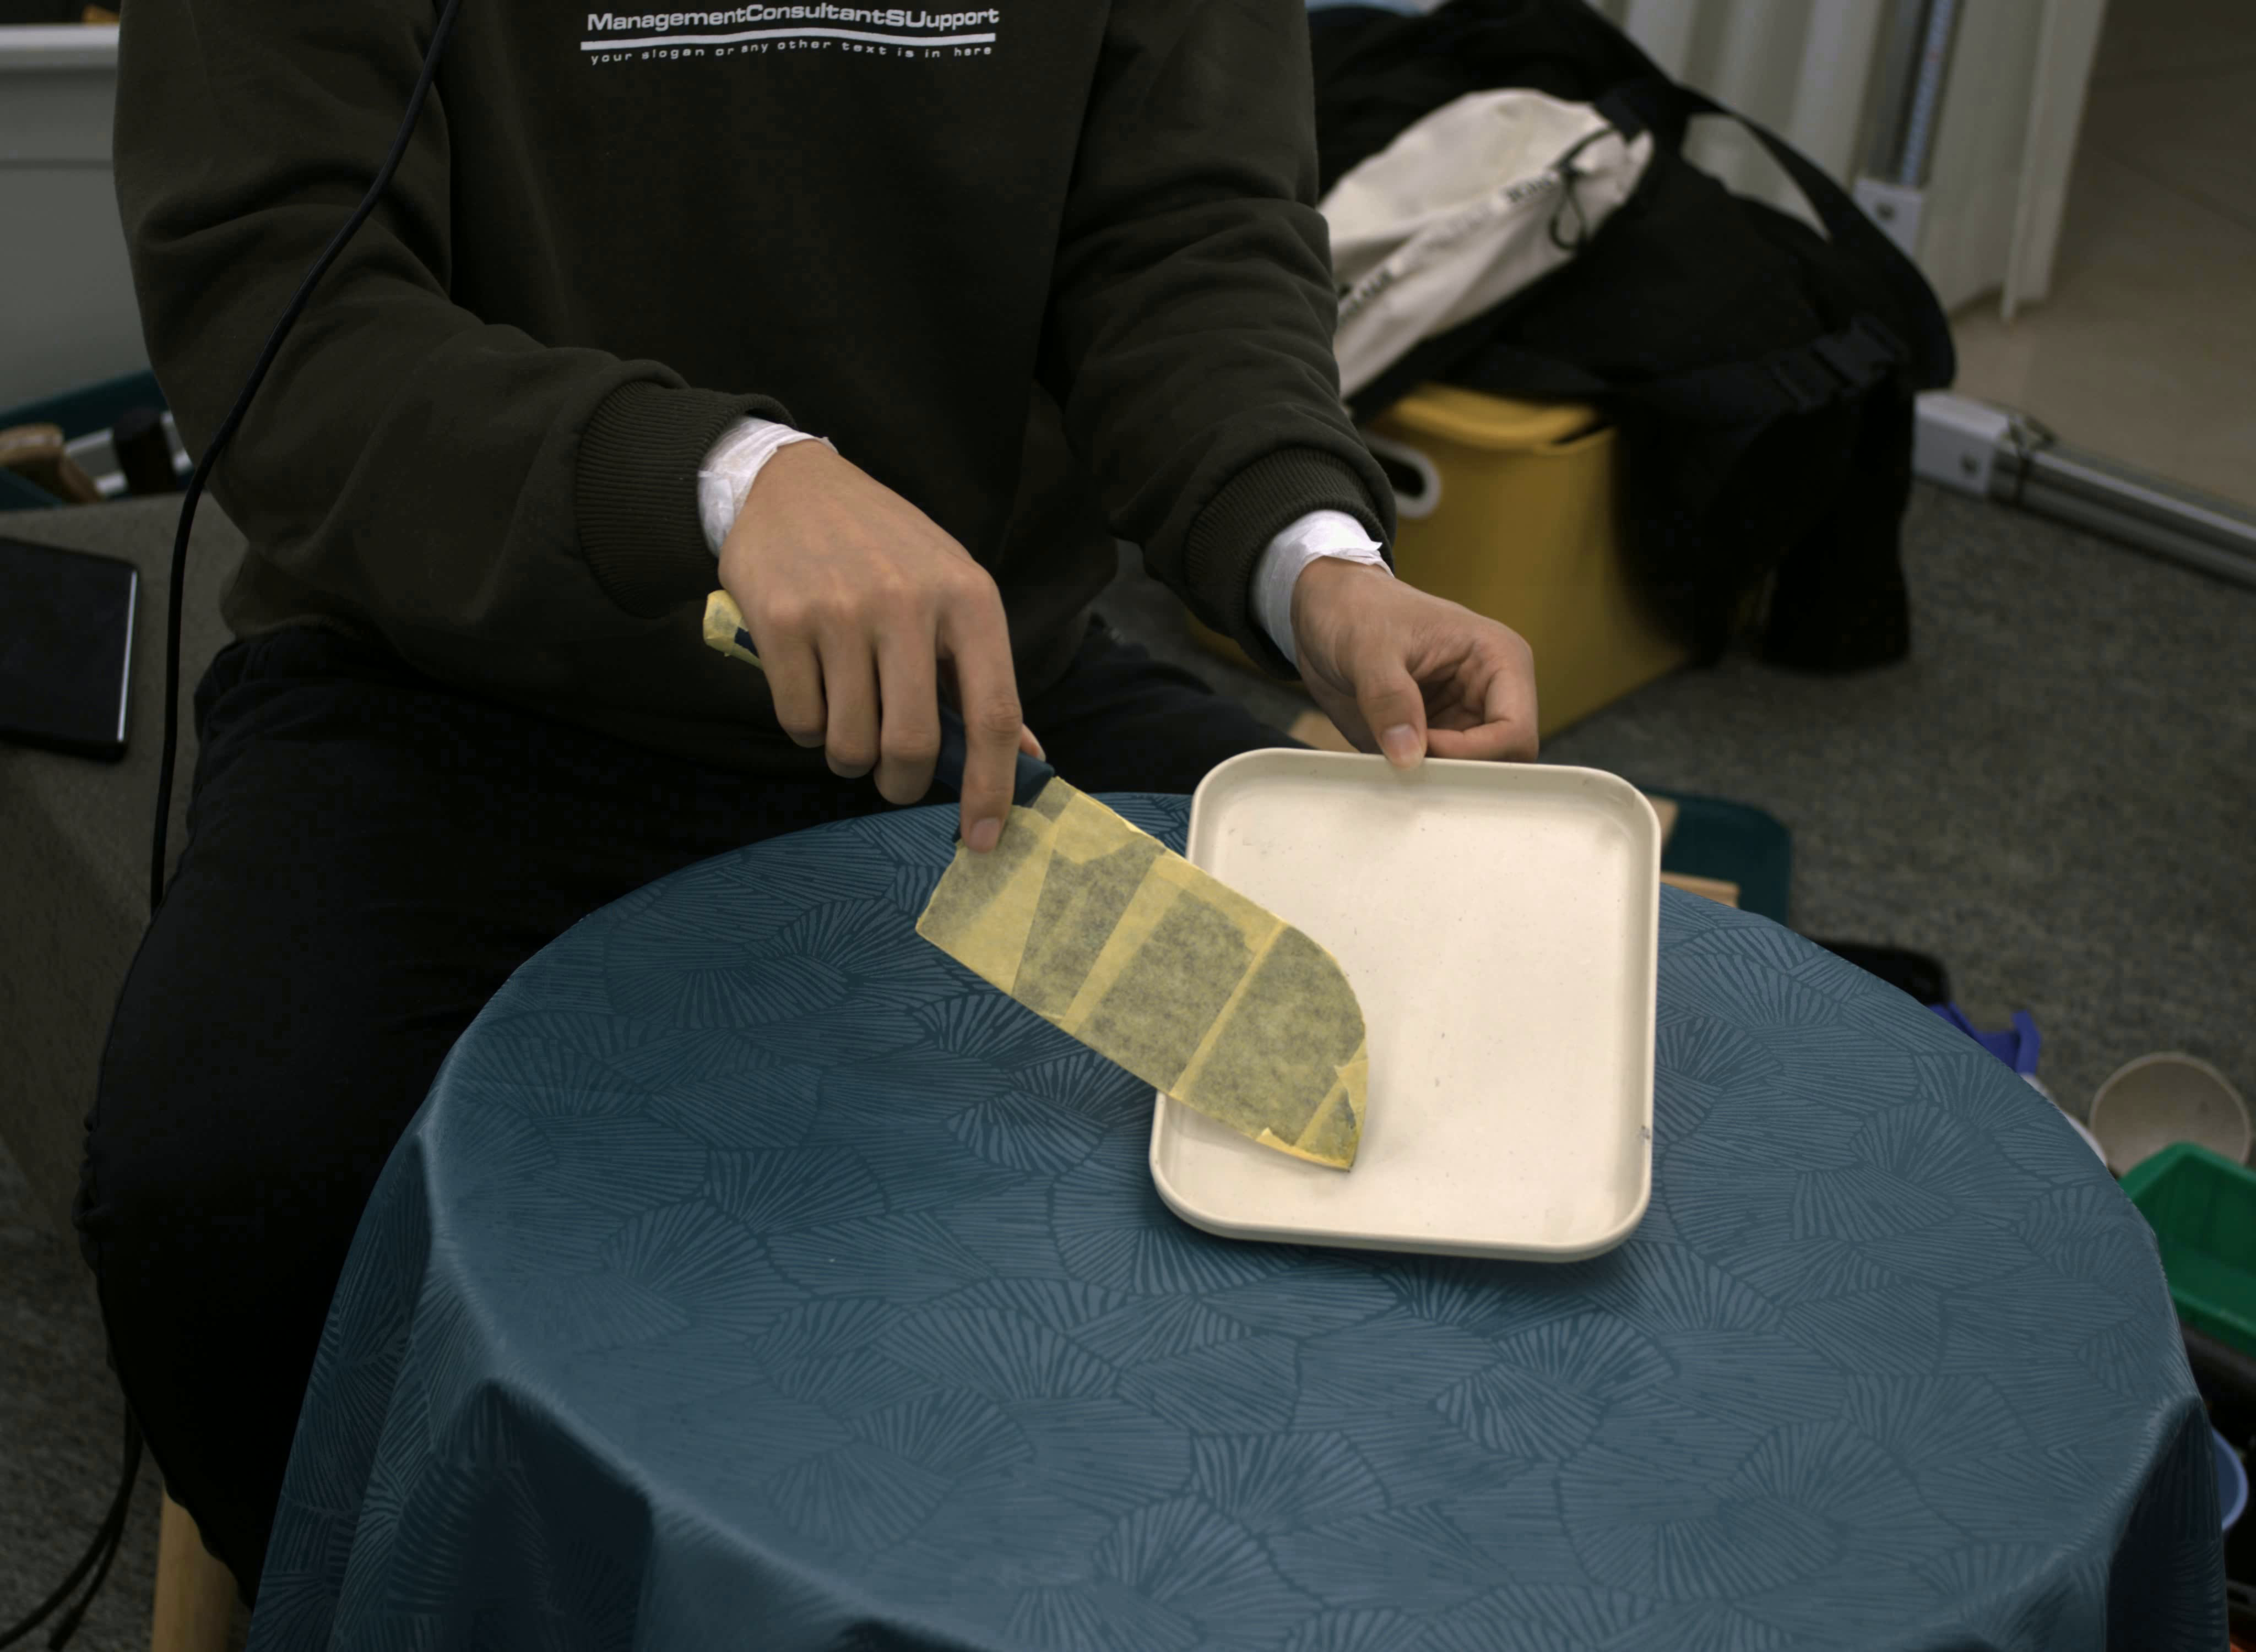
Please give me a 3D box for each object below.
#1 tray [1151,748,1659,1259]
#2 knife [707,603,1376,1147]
[{"bbox_3d":[0.099,0.061,1.858,0.171,0.017,0.241,3,43,5],"label":"tray"},{"bbox_3d":[-0.034,0.017,1.827,0.290,0.081,0.027,36,2,11],"label":"knife"}]
